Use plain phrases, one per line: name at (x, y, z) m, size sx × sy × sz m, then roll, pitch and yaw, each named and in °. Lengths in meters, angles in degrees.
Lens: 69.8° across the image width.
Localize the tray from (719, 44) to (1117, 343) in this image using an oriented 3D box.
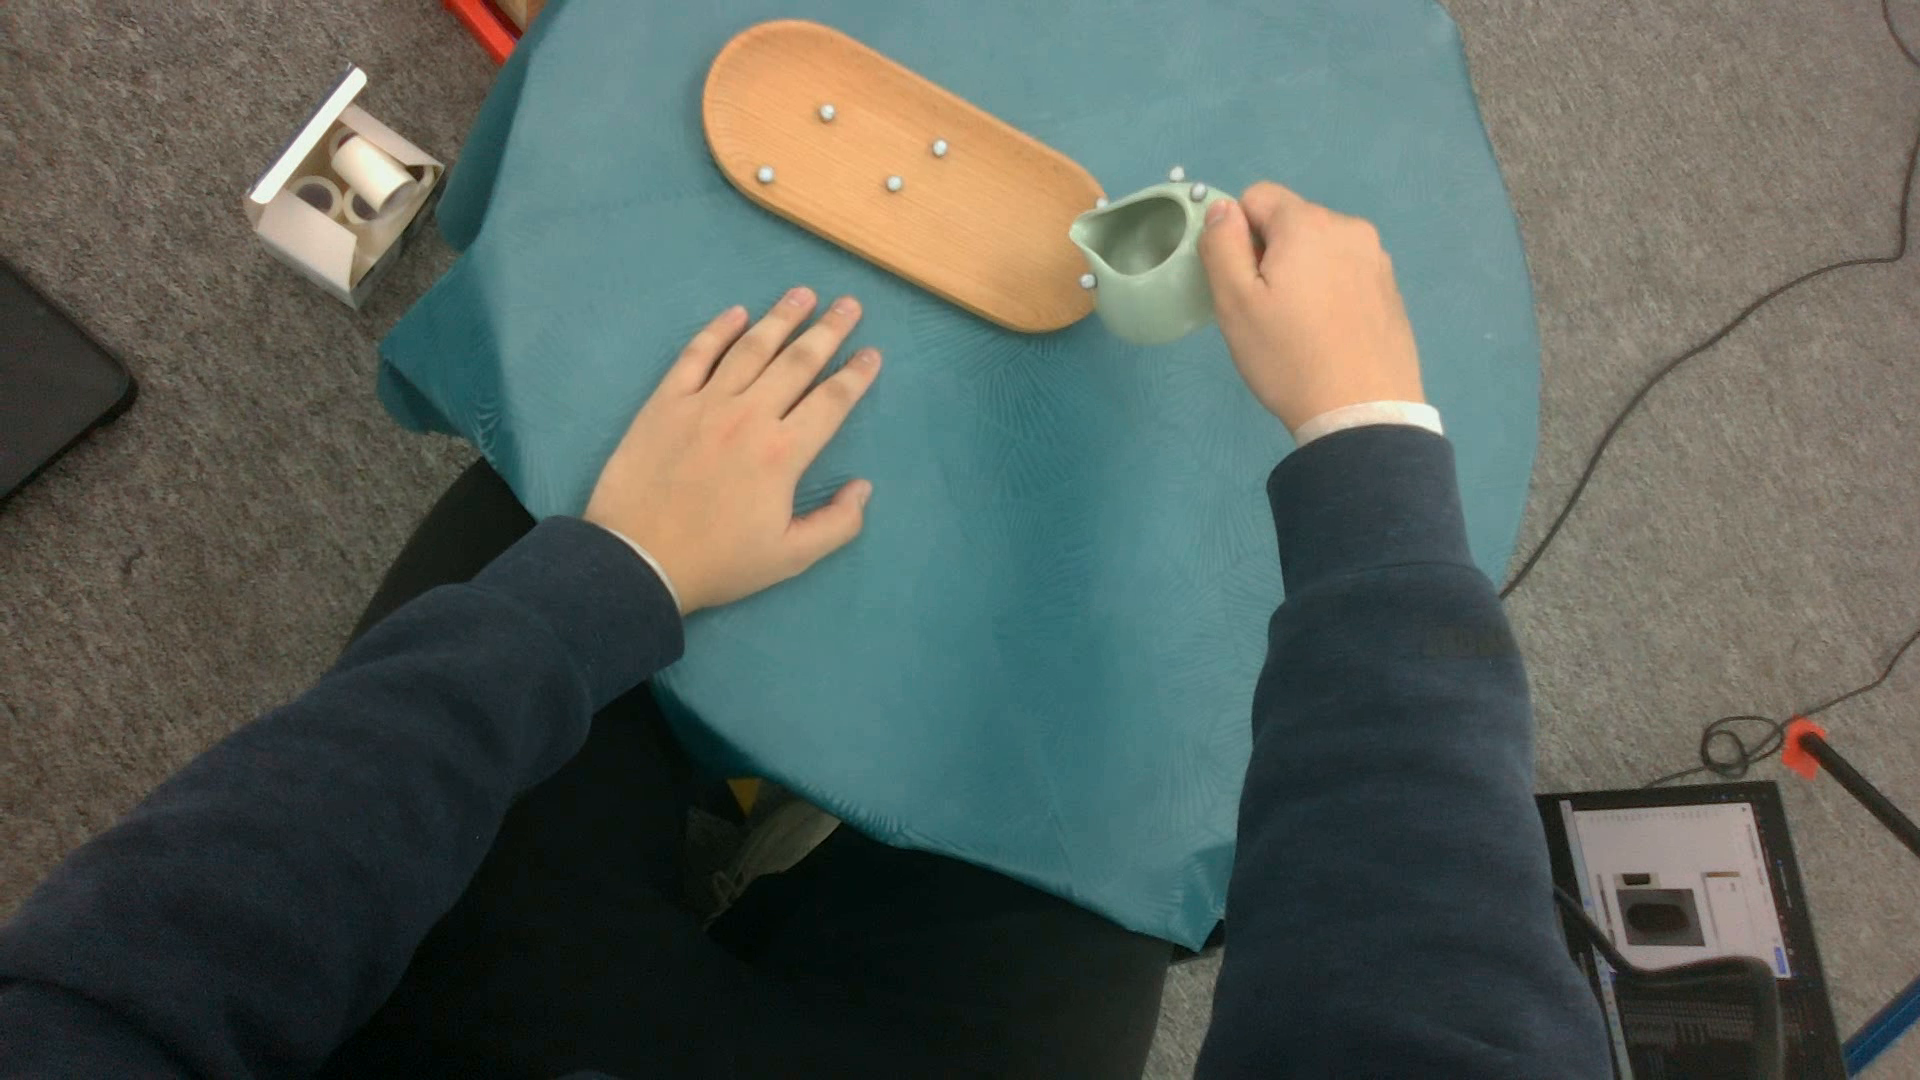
tray at (-0.017, -0.182, 0.731) m, size 0.231 × 0.020 × 0.102 m, roll 24°, pitch 77°, yaw -15°

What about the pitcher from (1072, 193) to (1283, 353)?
pitcher at (0.112, -0.135, 0.680) m, size 0.060 × 0.108 × 0.086 m, roll 33°, pitch 72°, yaw -48°
